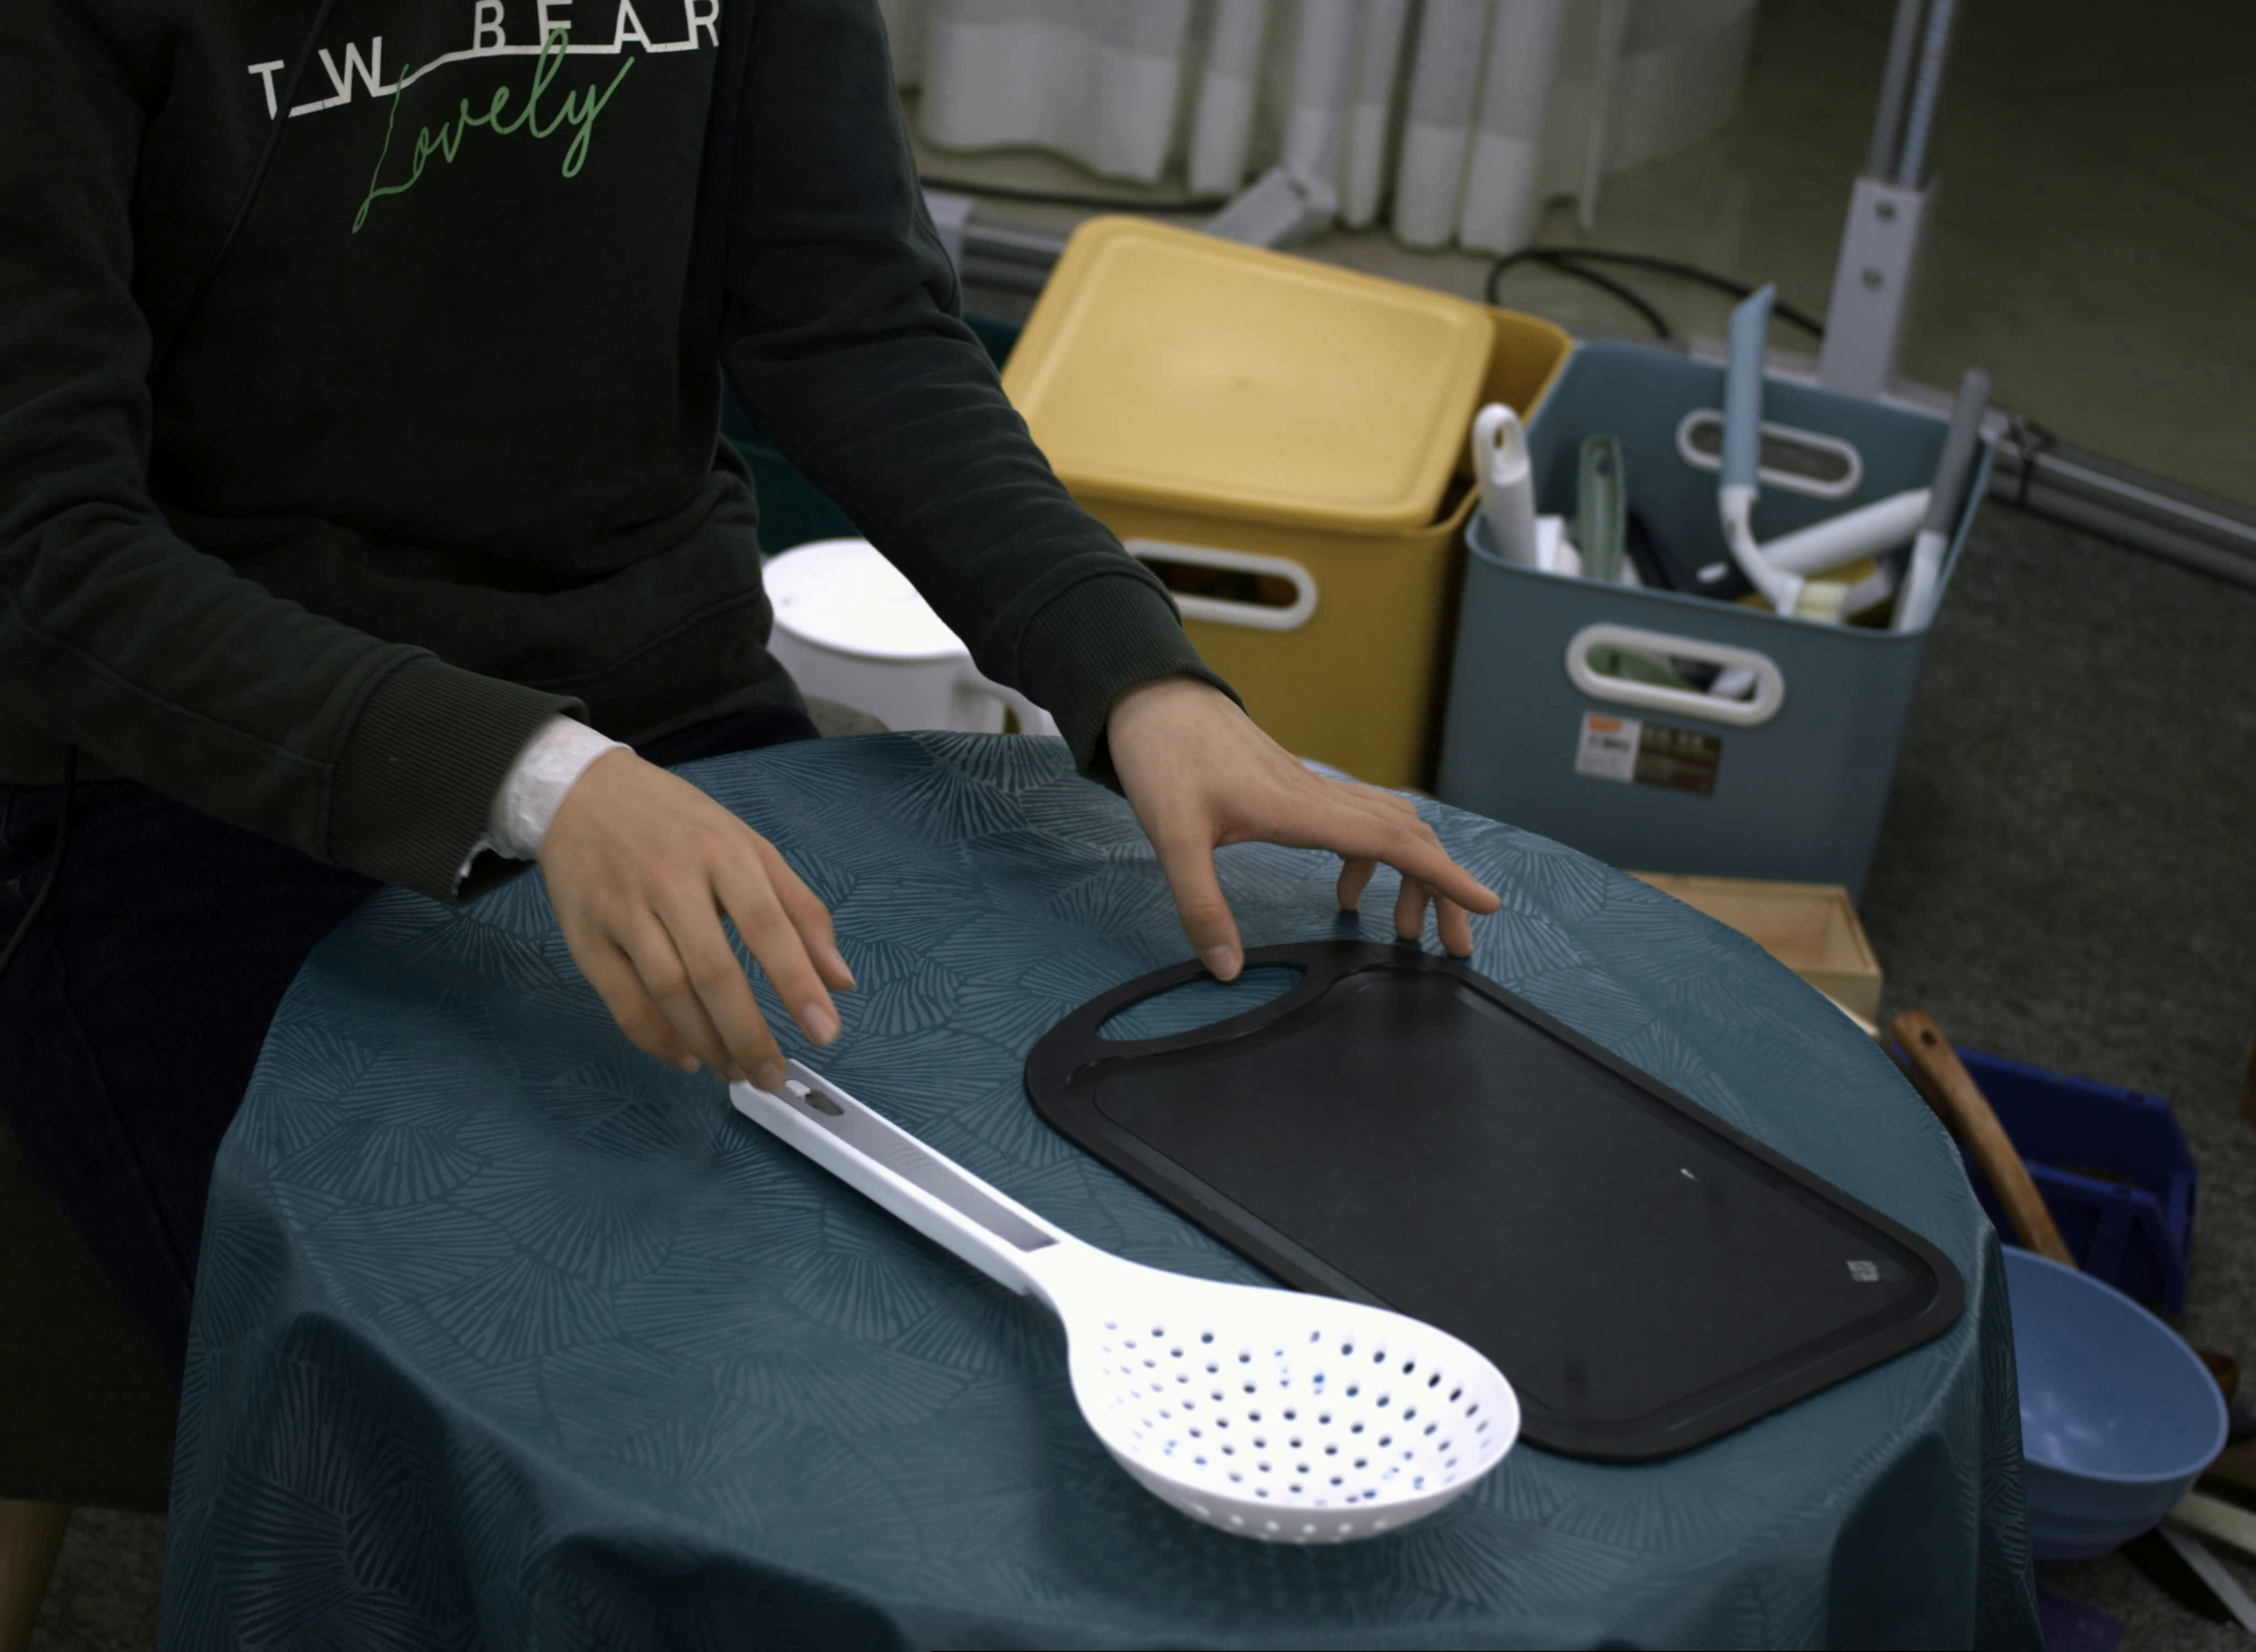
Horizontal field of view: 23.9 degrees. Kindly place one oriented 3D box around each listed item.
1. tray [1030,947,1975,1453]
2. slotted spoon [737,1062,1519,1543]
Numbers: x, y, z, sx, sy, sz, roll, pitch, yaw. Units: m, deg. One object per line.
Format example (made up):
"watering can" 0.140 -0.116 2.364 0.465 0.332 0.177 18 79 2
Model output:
"tray" 0.119 0.119 1.830 0.210 0.010 0.328 -17 34 -39
"slotted spoon" -0.017 0.146 1.702 0.135 0.045 0.353 -13 31 -37
